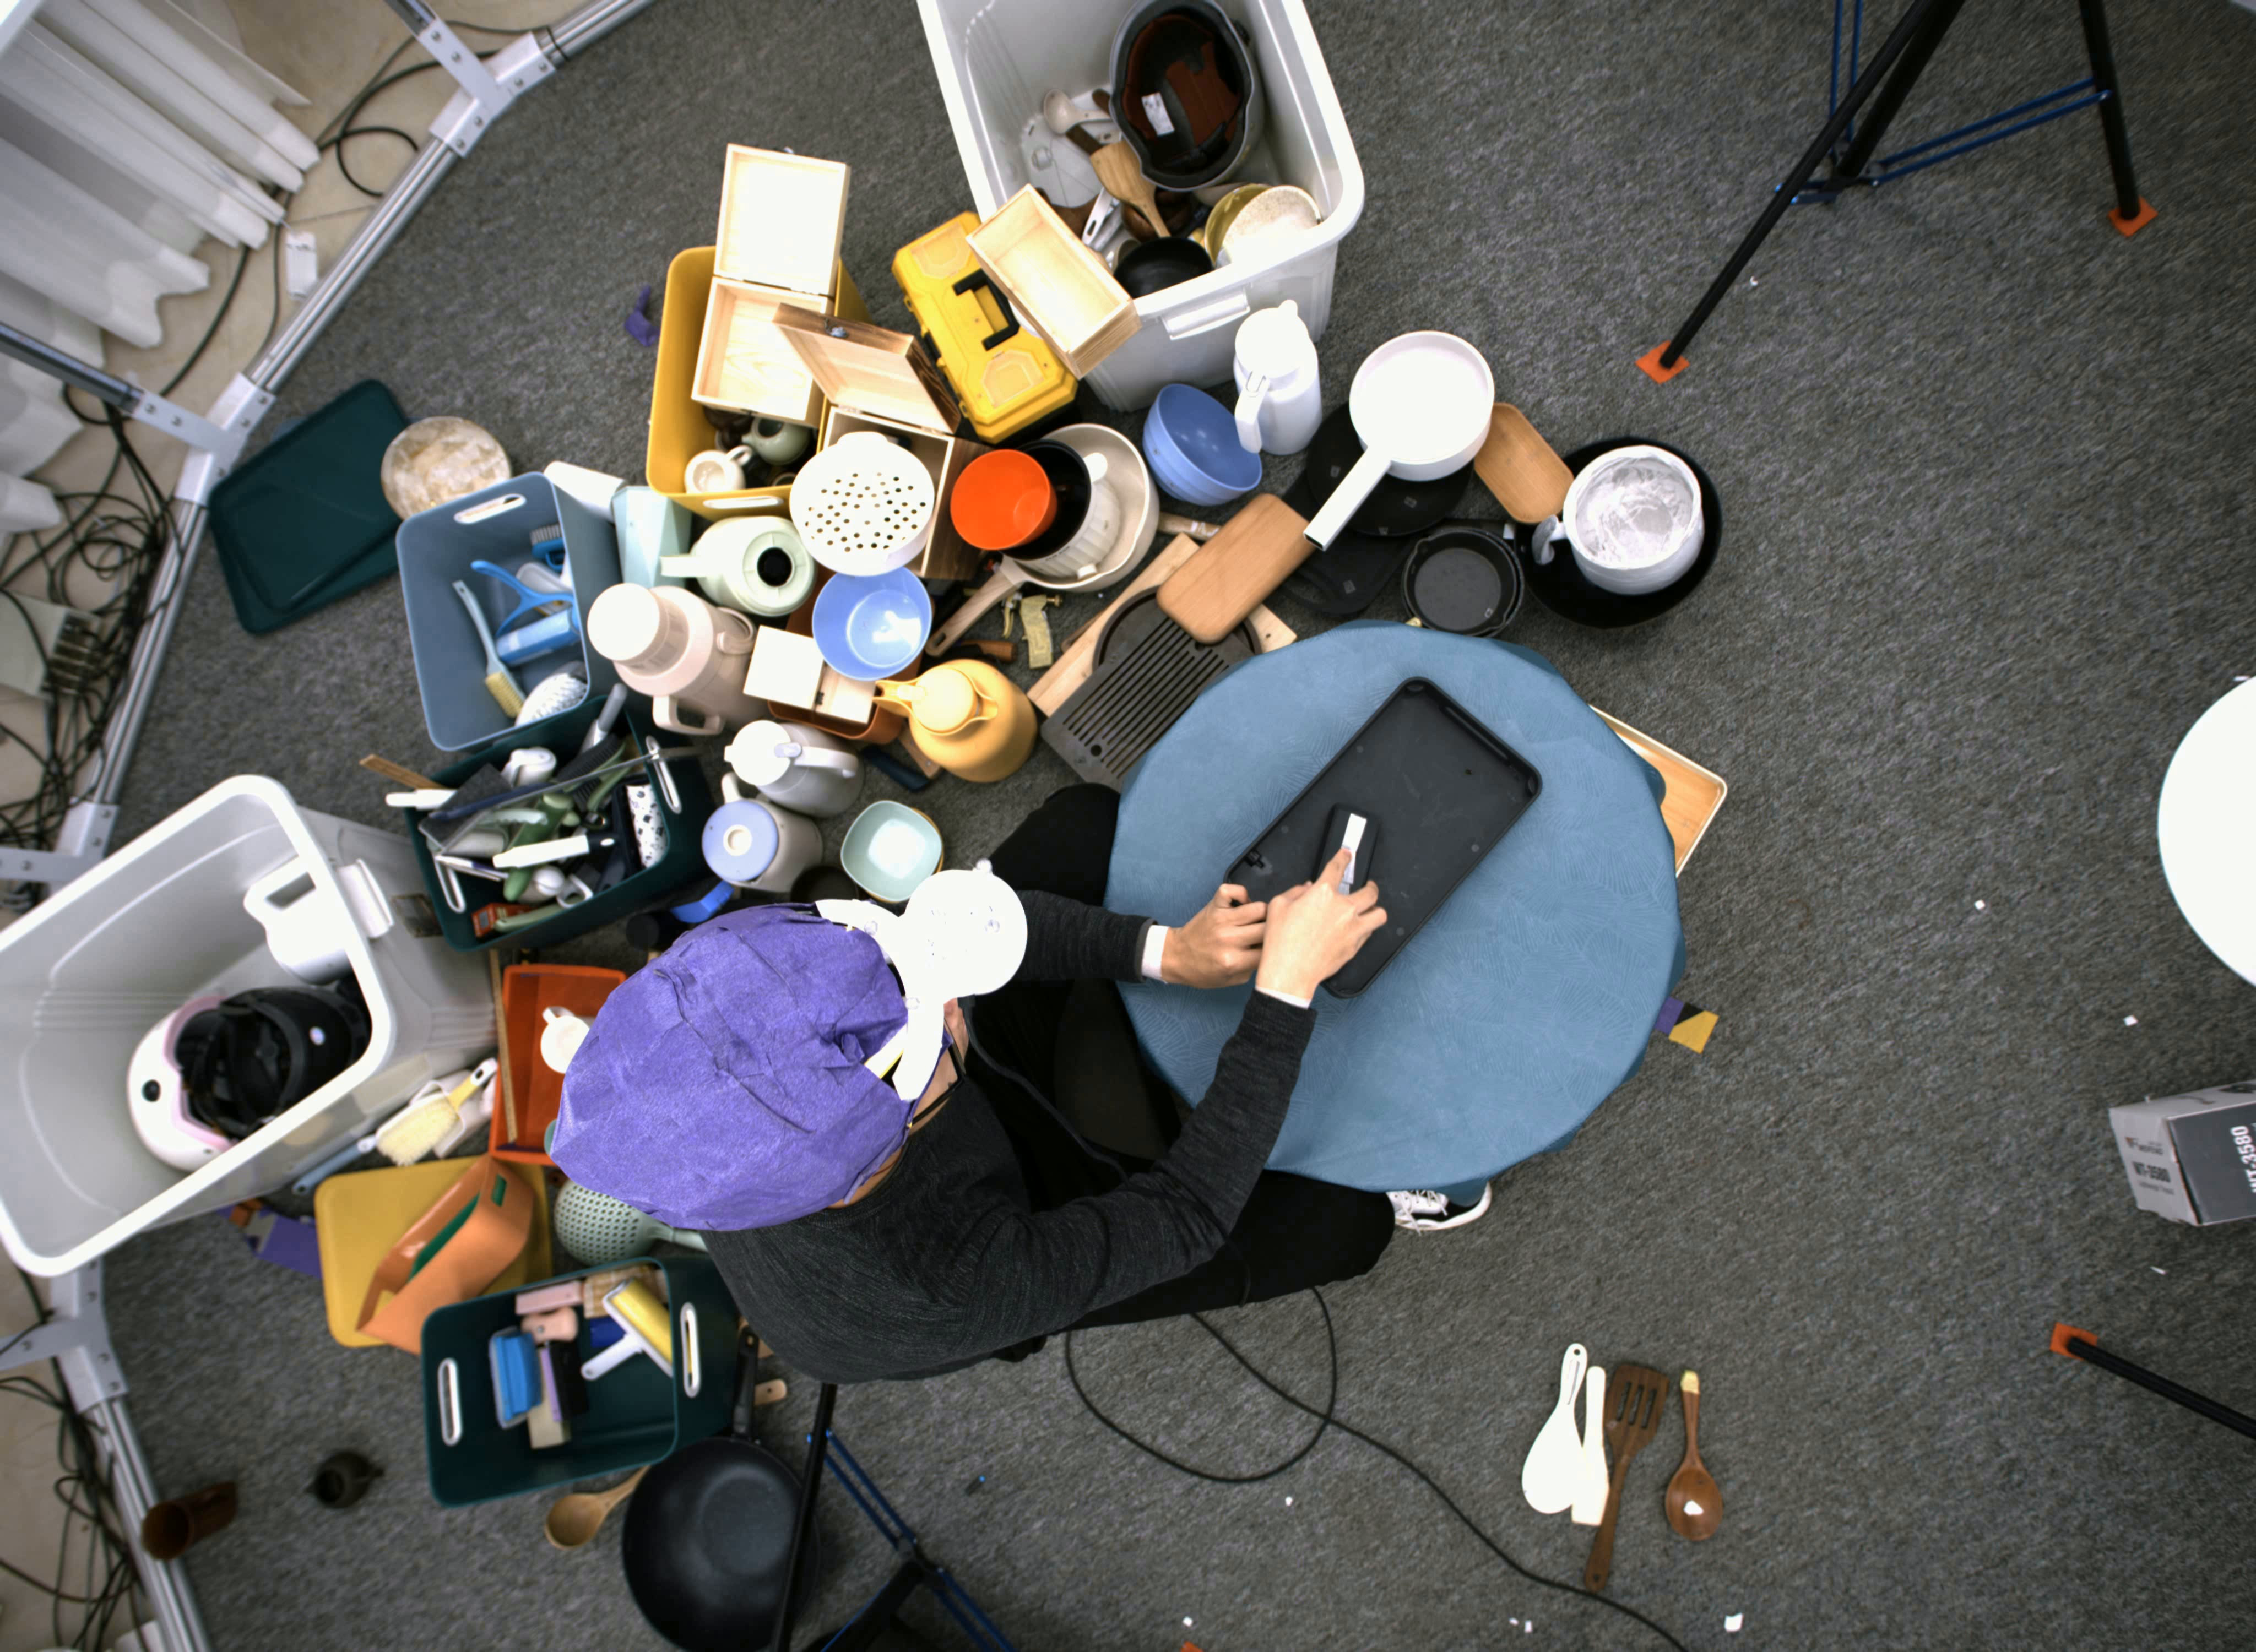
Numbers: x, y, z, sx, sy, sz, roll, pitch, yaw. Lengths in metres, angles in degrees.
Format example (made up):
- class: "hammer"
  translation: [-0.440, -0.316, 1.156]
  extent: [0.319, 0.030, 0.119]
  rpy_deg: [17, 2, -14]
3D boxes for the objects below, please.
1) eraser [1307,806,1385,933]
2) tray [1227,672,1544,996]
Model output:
- class: "eraser"
  translation: [0.221, 0.042, 1.401]
  extent: [0.053, 0.031, 0.123]
  rpy_deg: [16, 73, 5]
- class: "tray"
  translation: [0.264, 0.006, 1.415]
  extent: [0.183, 0.037, 0.316]
  rpy_deg: [41, 83, 10]
